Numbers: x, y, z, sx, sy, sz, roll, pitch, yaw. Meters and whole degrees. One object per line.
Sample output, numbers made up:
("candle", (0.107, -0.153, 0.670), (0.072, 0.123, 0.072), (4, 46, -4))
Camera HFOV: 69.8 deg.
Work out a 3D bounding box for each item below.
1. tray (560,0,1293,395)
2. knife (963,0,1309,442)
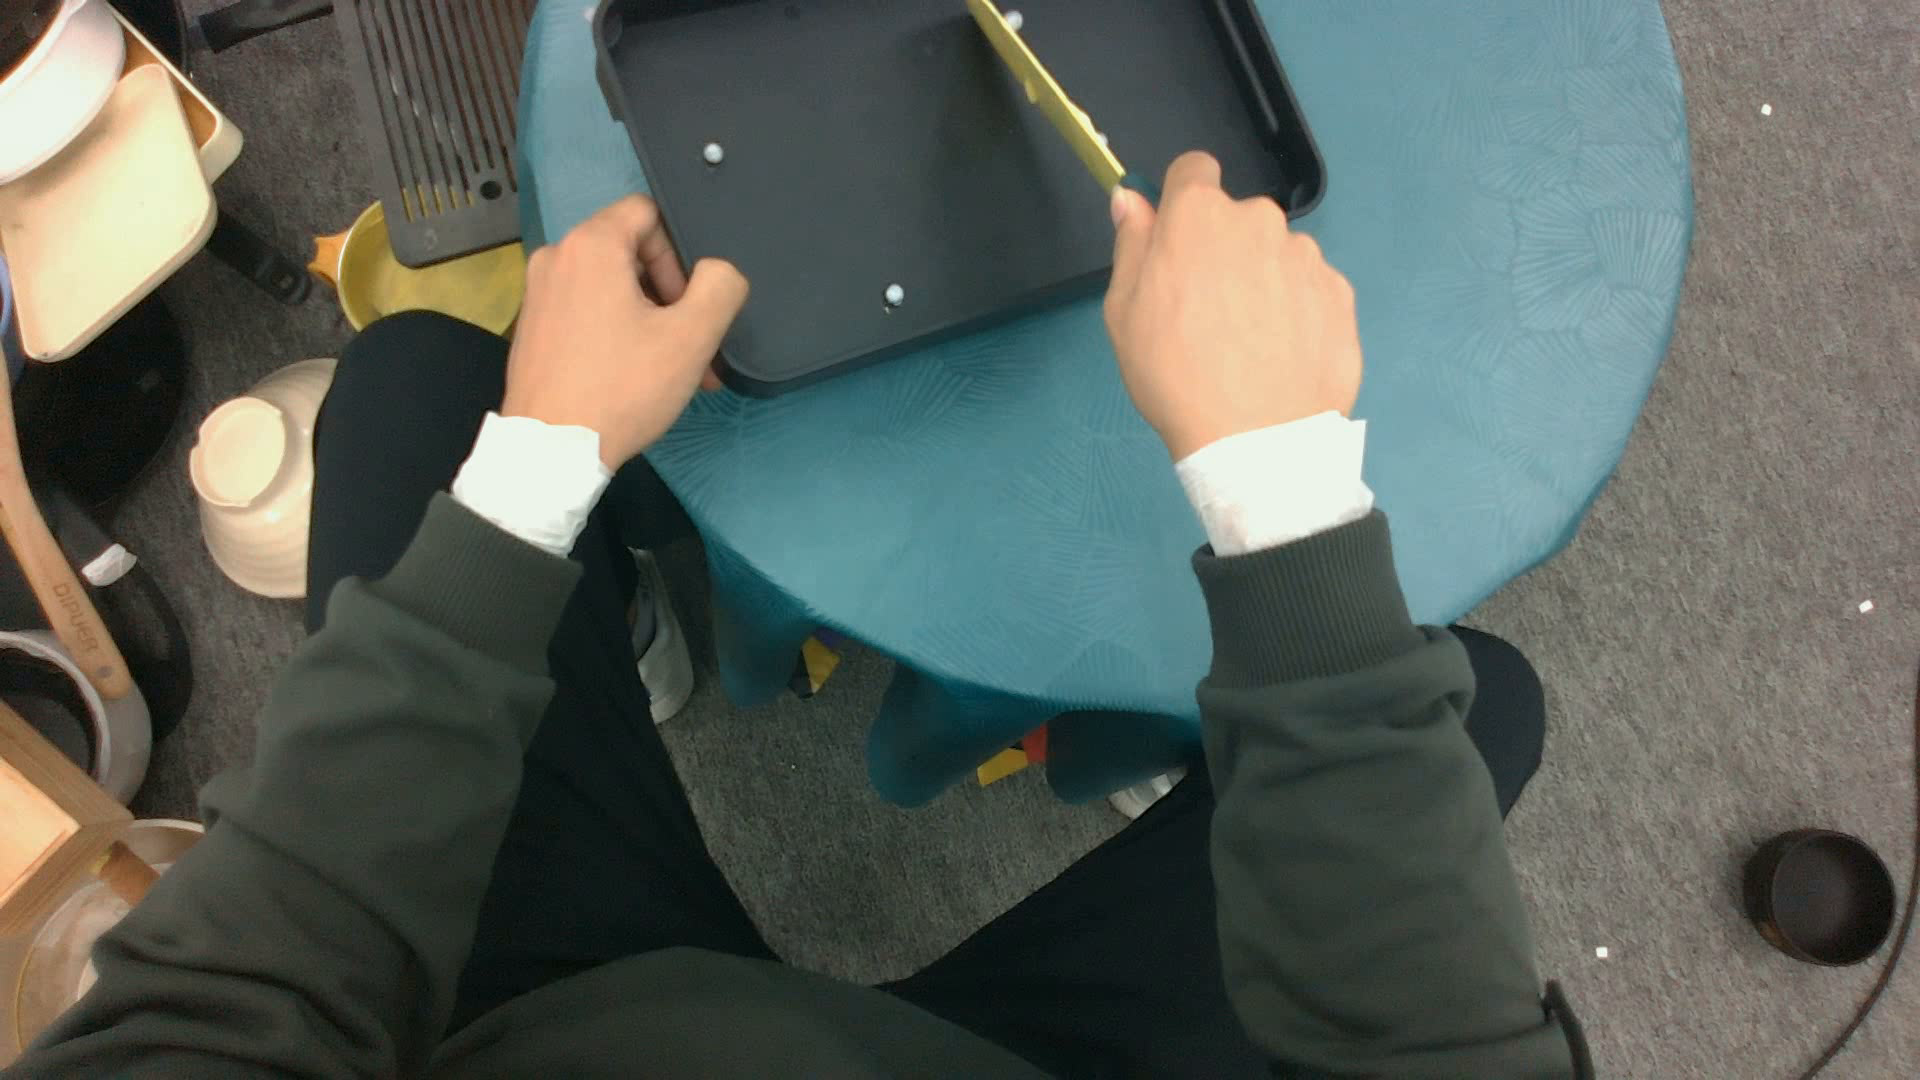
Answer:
("tray", (-0.006, -0.197, 0.641), (0.319, 0.037, 0.184), (-23, 87, -22))
("knife", (0.062, -0.152, 0.591), (0.027, 0.081, 0.290), (-35, 65, 9))
